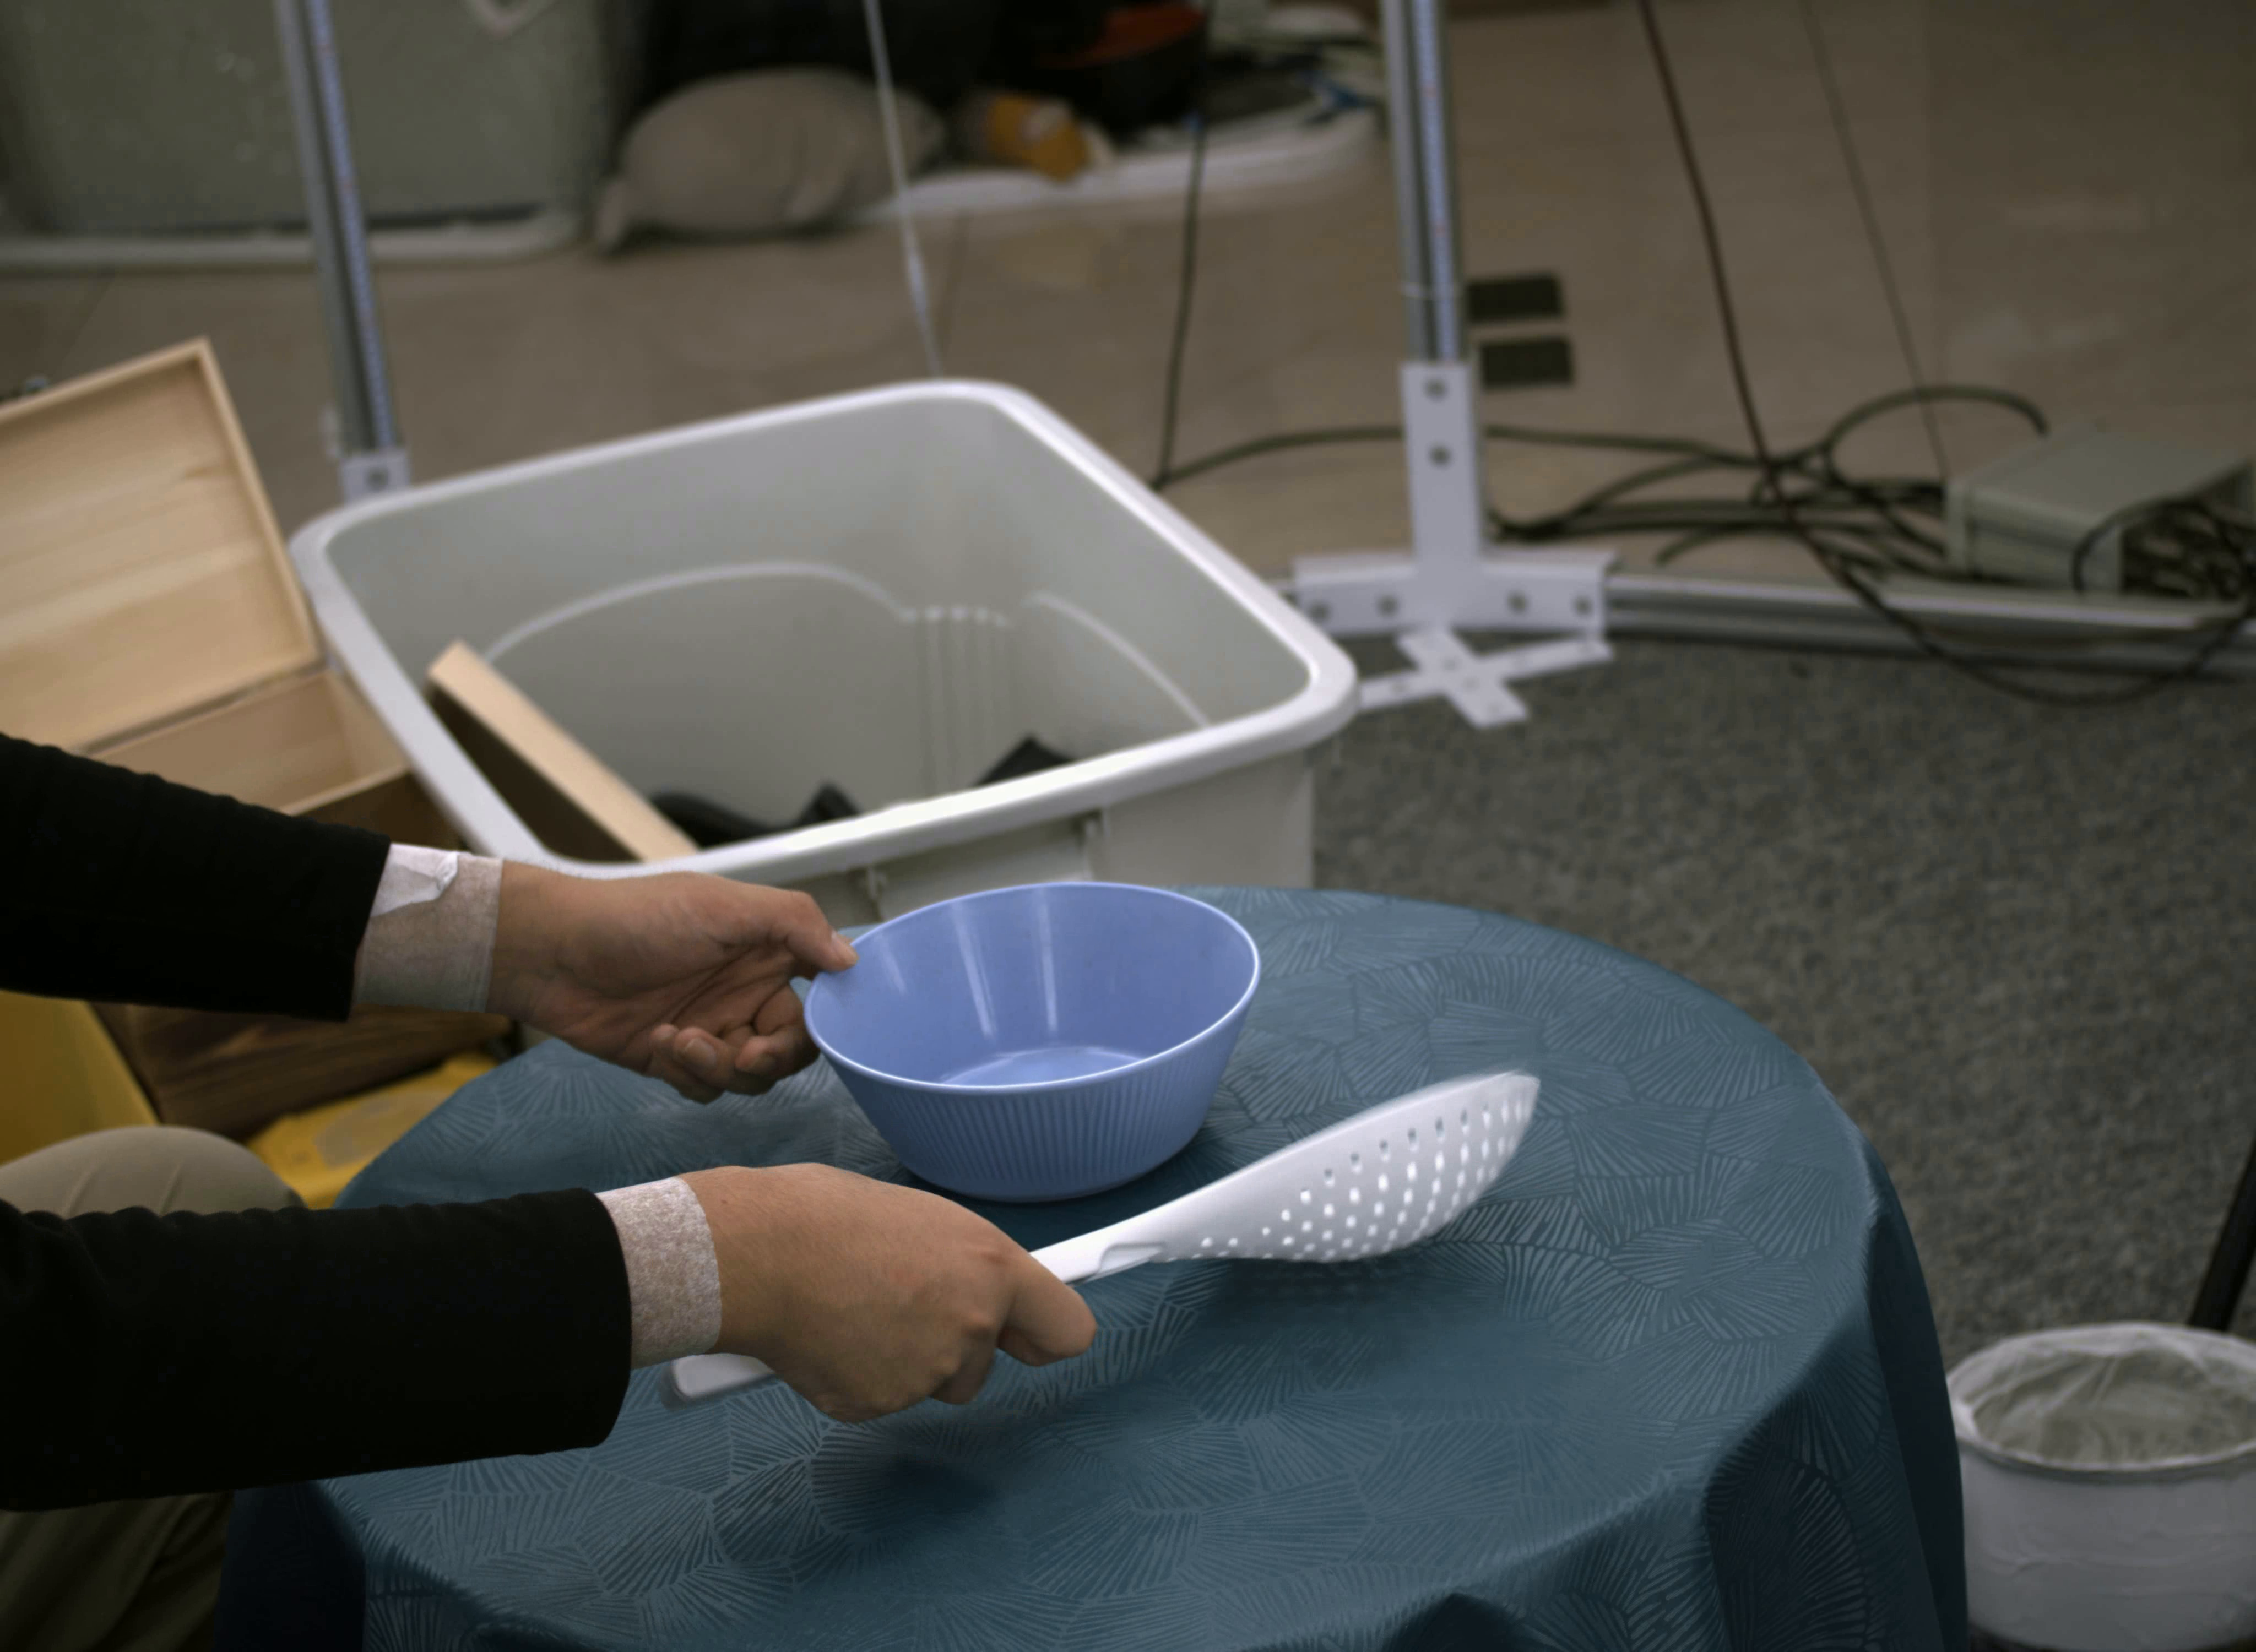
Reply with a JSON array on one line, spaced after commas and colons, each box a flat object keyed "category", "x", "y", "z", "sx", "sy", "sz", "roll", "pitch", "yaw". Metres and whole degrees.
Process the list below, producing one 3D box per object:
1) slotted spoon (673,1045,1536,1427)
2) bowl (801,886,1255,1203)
[{"category": "slotted spoon", "x": -0.003, "y": 0.148, "z": 2.016, "sx": 0.348, "sy": 0.045, "sz": 0.137, "roll": -13, "pitch": -16, "yaw": -24}, {"category": "bowl", "x": -0.035, "y": 0.089, "z": 2.180, "sx": 0.176, "sy": 0.071, "sz": 0.173, "roll": -6, "pitch": 25, "yaw": 3}]
